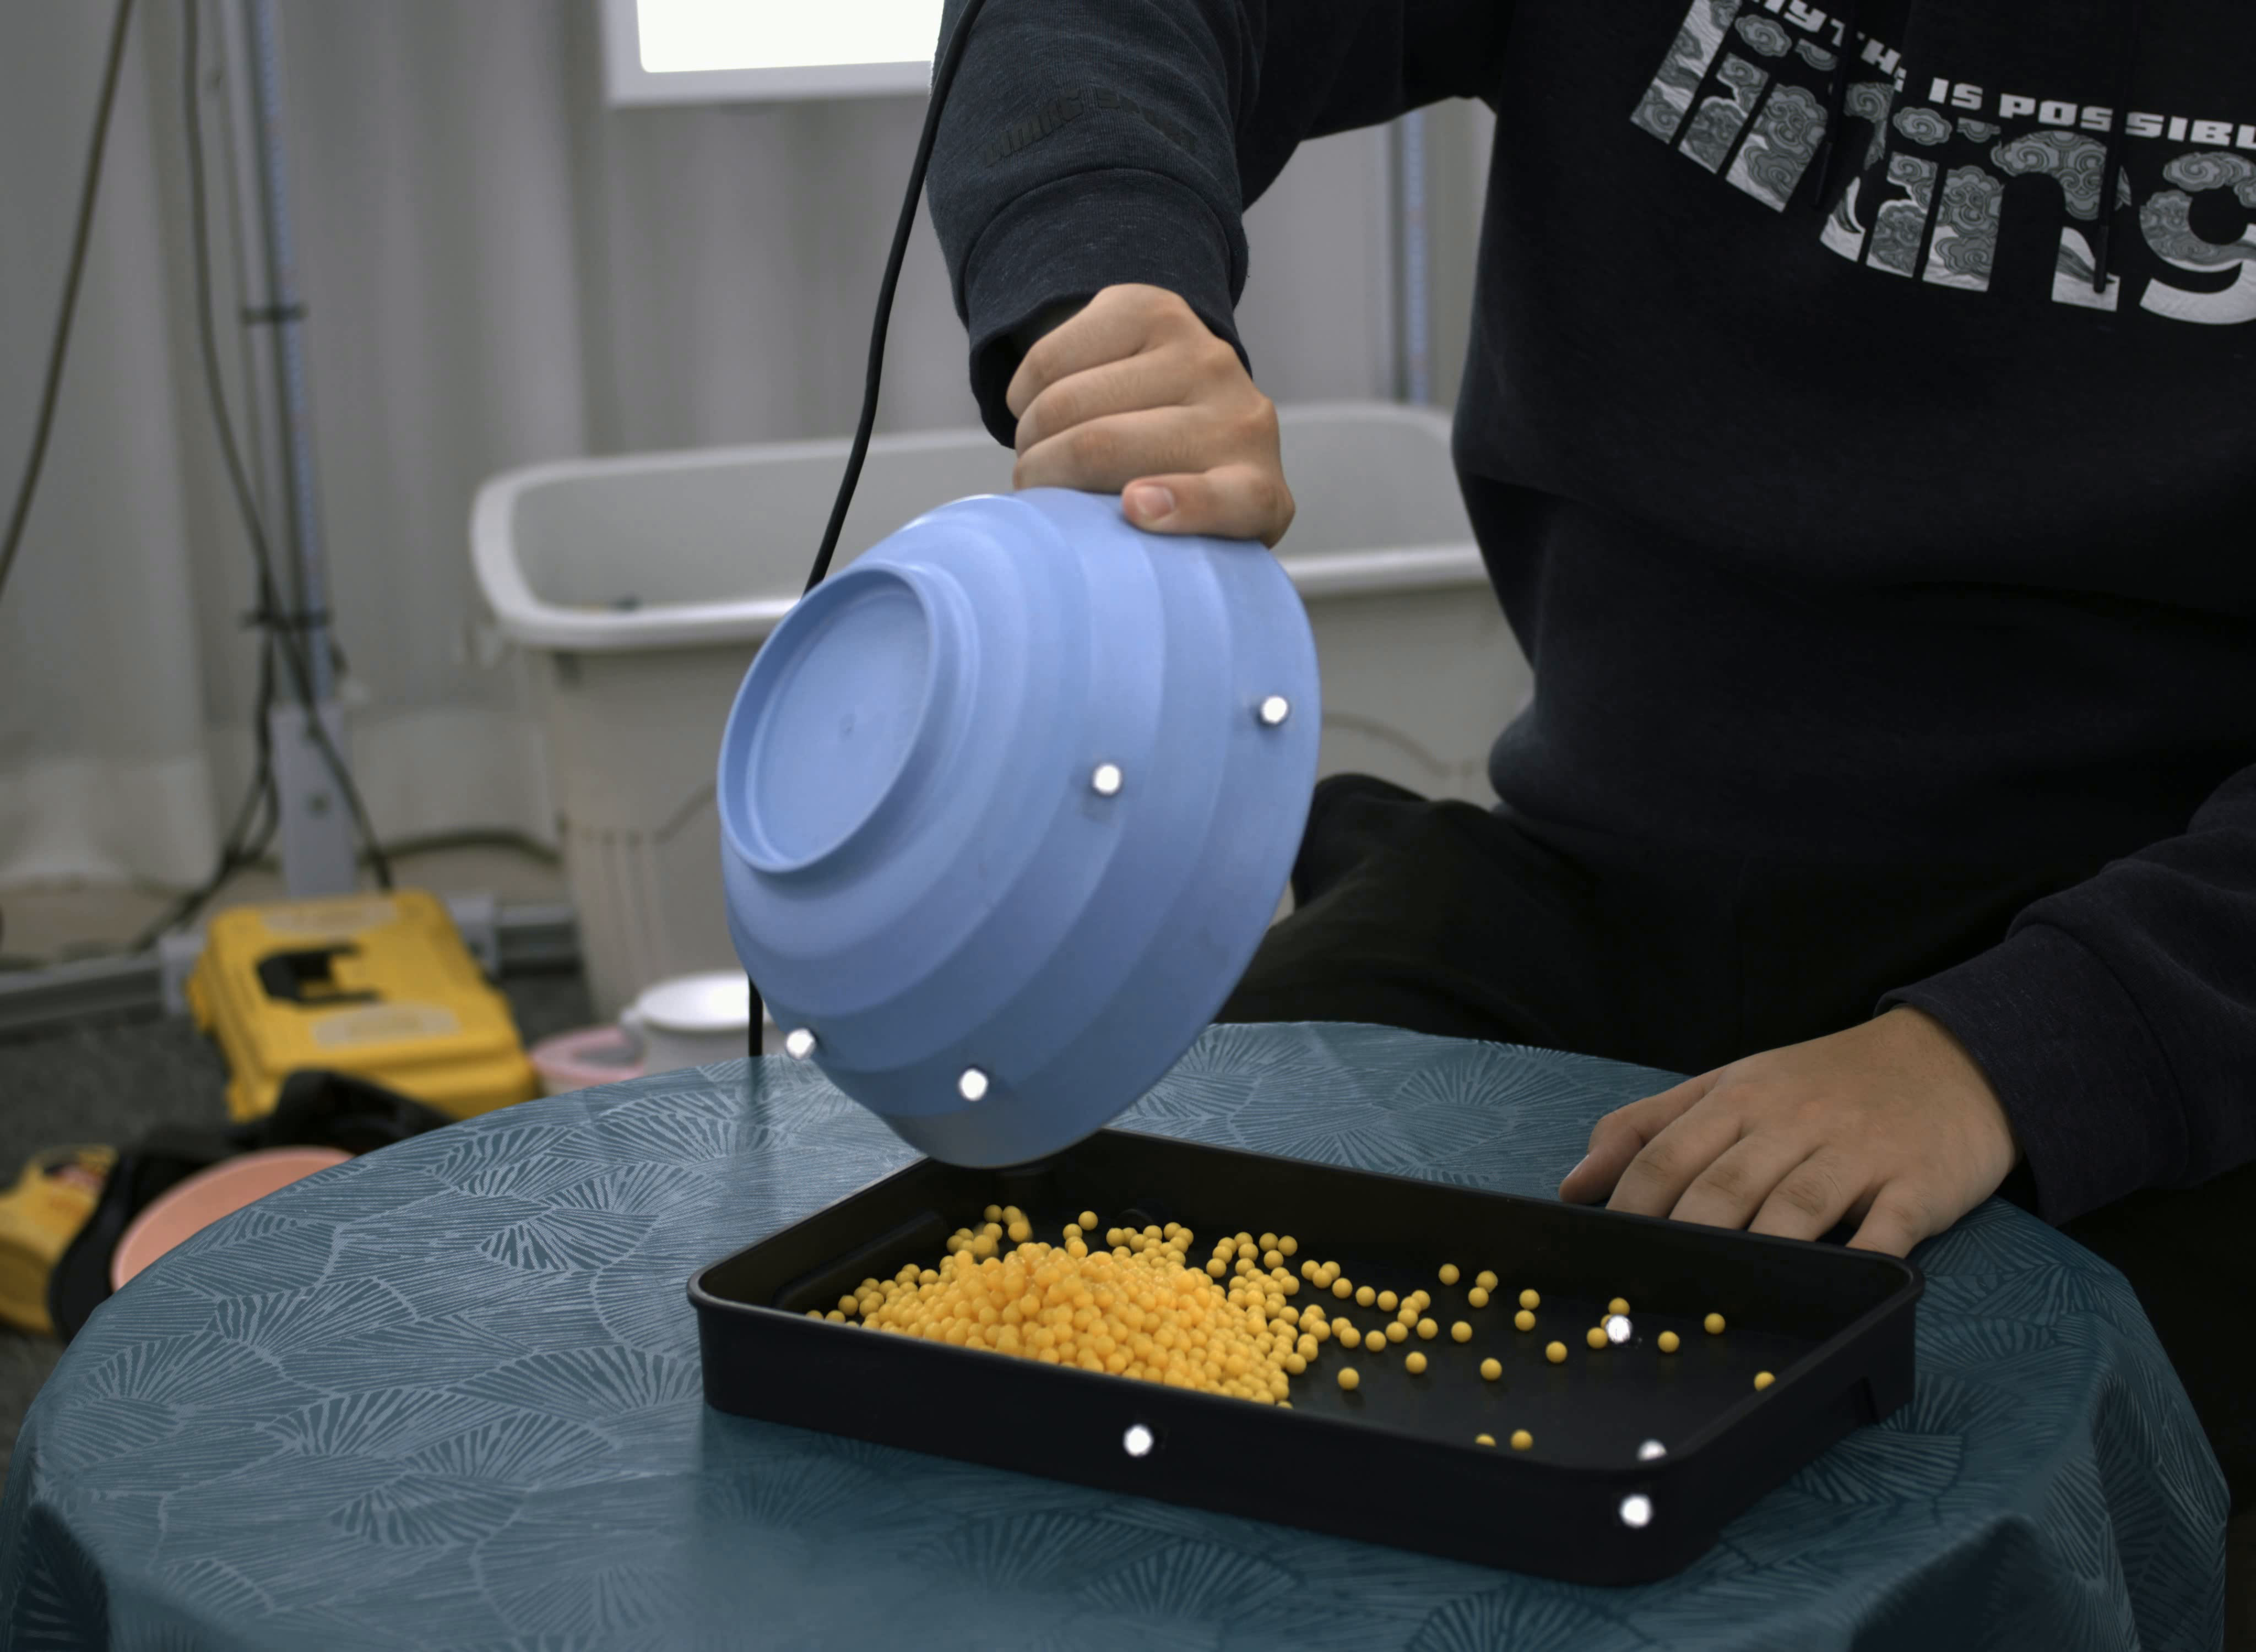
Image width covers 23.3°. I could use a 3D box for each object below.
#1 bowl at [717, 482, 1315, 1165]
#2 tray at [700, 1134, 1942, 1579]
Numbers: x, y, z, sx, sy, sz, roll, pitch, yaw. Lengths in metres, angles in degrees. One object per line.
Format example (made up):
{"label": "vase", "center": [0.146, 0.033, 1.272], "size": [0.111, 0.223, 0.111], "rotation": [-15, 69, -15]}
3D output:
{"label": "bowl", "center": [-0.049, -0.014, 1.509], "size": [0.094, 0.197, 0.198], "rotation": [26, -4, -34]}
{"label": "tray", "center": [0.053, 0.144, 1.534], "size": [0.319, 0.037, 0.184], "rotation": [5, 16, 31]}
